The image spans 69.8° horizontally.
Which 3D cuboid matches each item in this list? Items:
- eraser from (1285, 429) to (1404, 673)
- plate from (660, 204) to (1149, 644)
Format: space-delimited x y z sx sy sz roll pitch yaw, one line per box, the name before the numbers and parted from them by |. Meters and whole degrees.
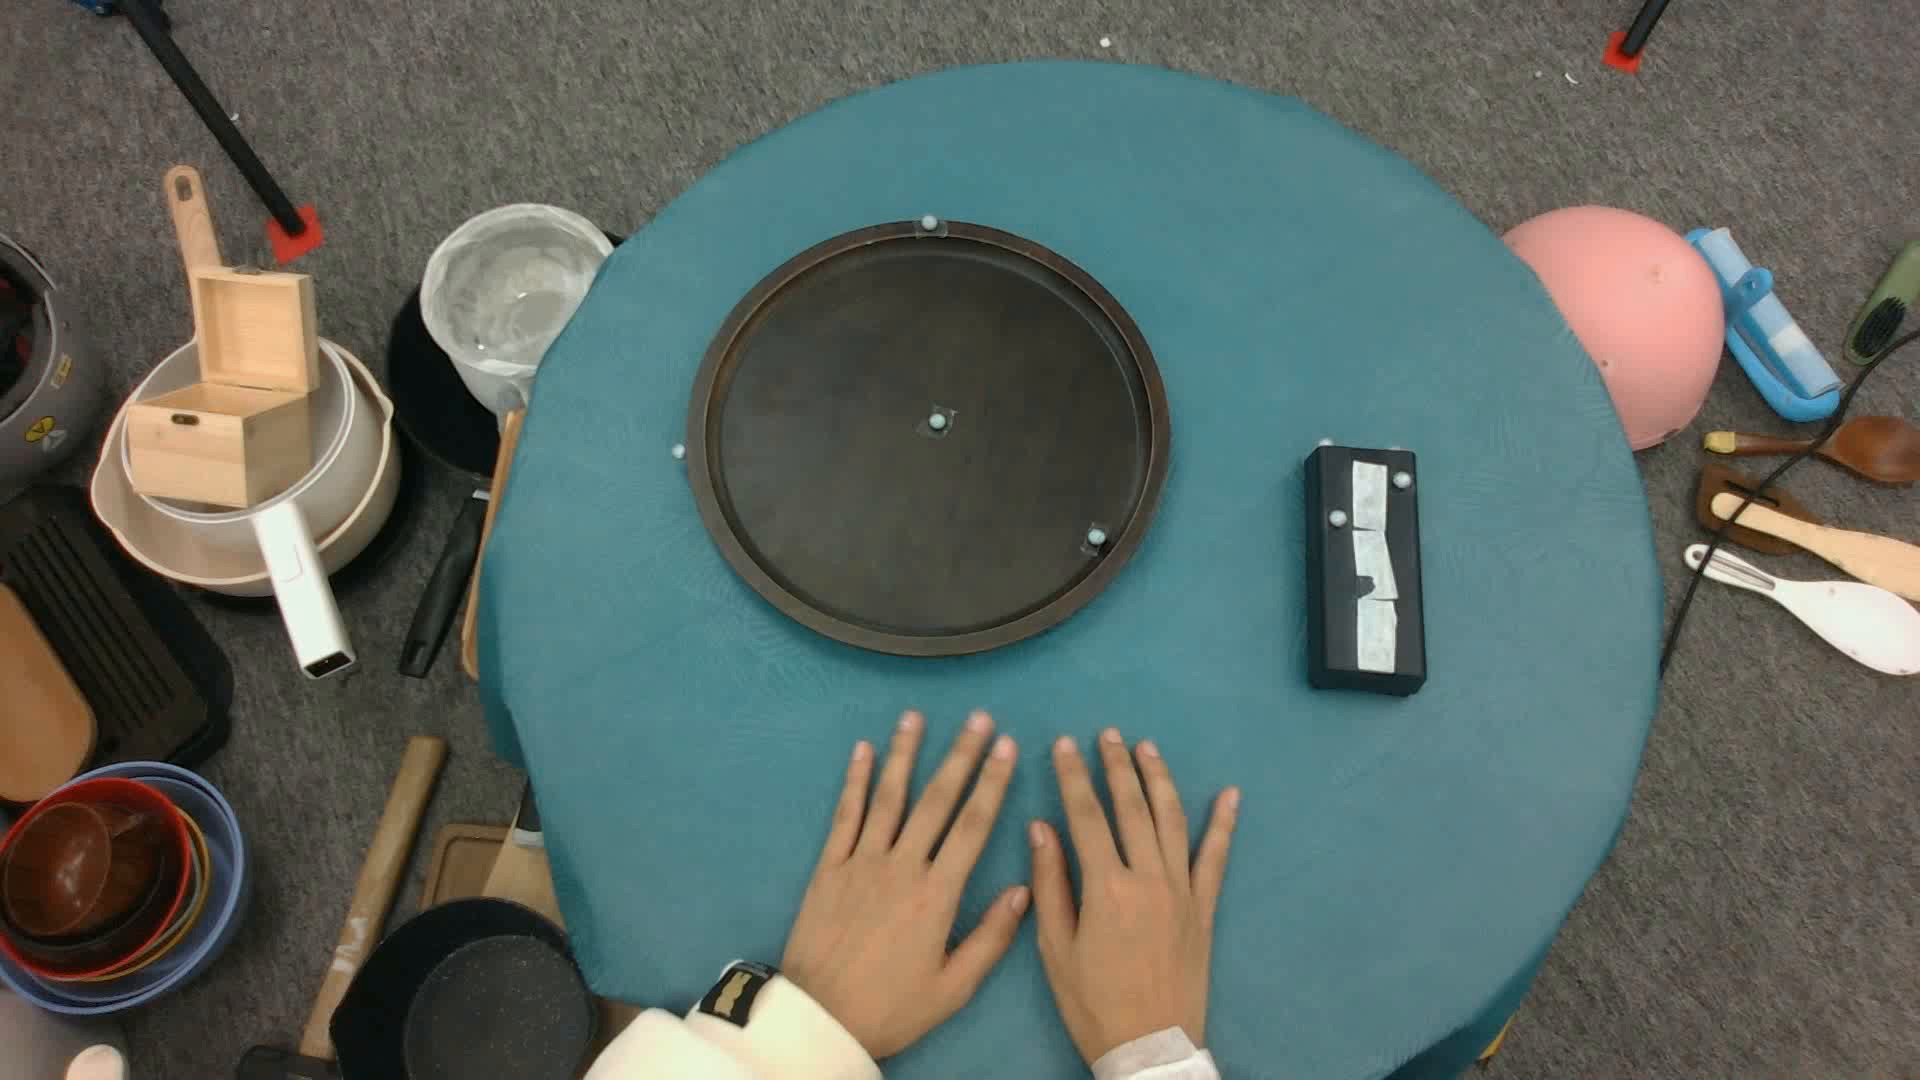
eraser | 0.192 0.004 0.698 0.053 0.030 0.126 3 69 2
plate | -0.028 -0.065 0.720 0.255 0.029 0.255 1 66 -2
